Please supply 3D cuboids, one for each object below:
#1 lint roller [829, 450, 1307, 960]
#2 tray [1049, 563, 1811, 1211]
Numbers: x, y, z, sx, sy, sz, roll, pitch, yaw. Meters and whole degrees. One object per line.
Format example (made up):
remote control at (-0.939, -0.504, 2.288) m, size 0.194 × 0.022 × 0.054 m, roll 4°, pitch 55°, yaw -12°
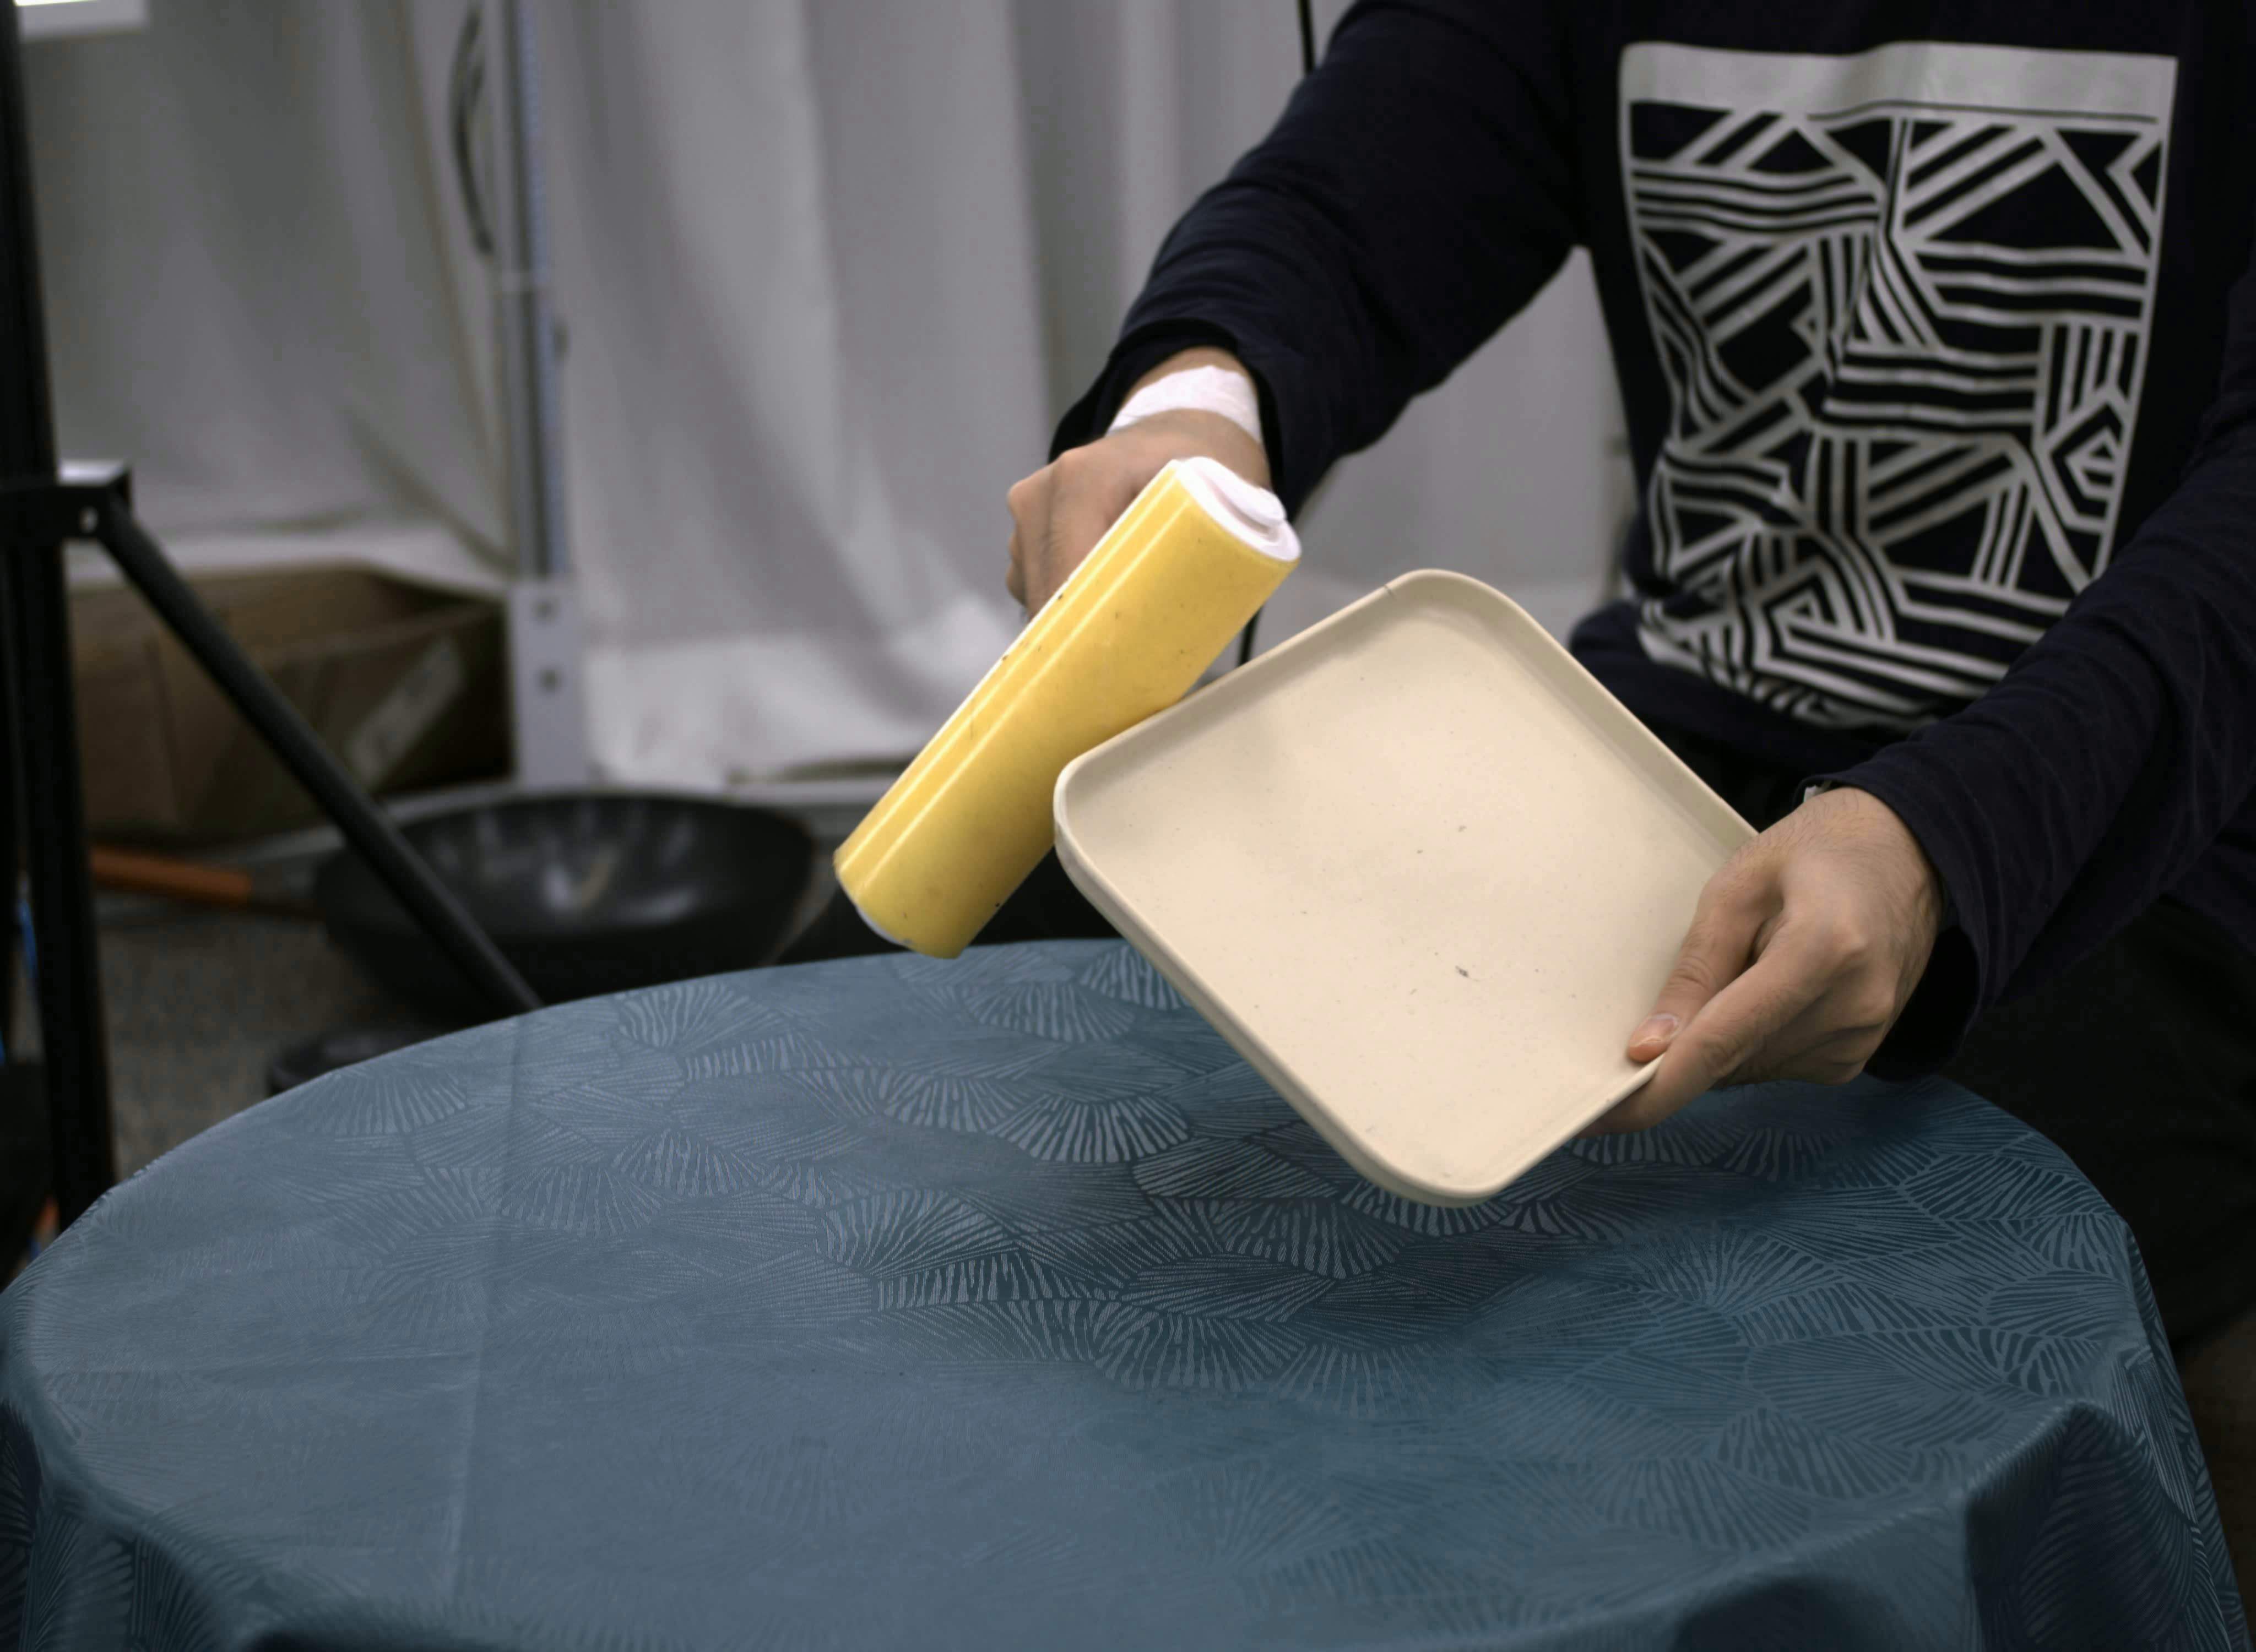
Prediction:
lint roller at (-0.015, -0.060, 1.592) m, size 0.051 × 0.175 × 0.193 m, roll 37°, pitch 19°, yaw -13°
tray at (0.089, 0.015, 1.525) m, size 0.173 × 0.017 × 0.235 m, roll 45°, pitch 39°, yaw 13°
